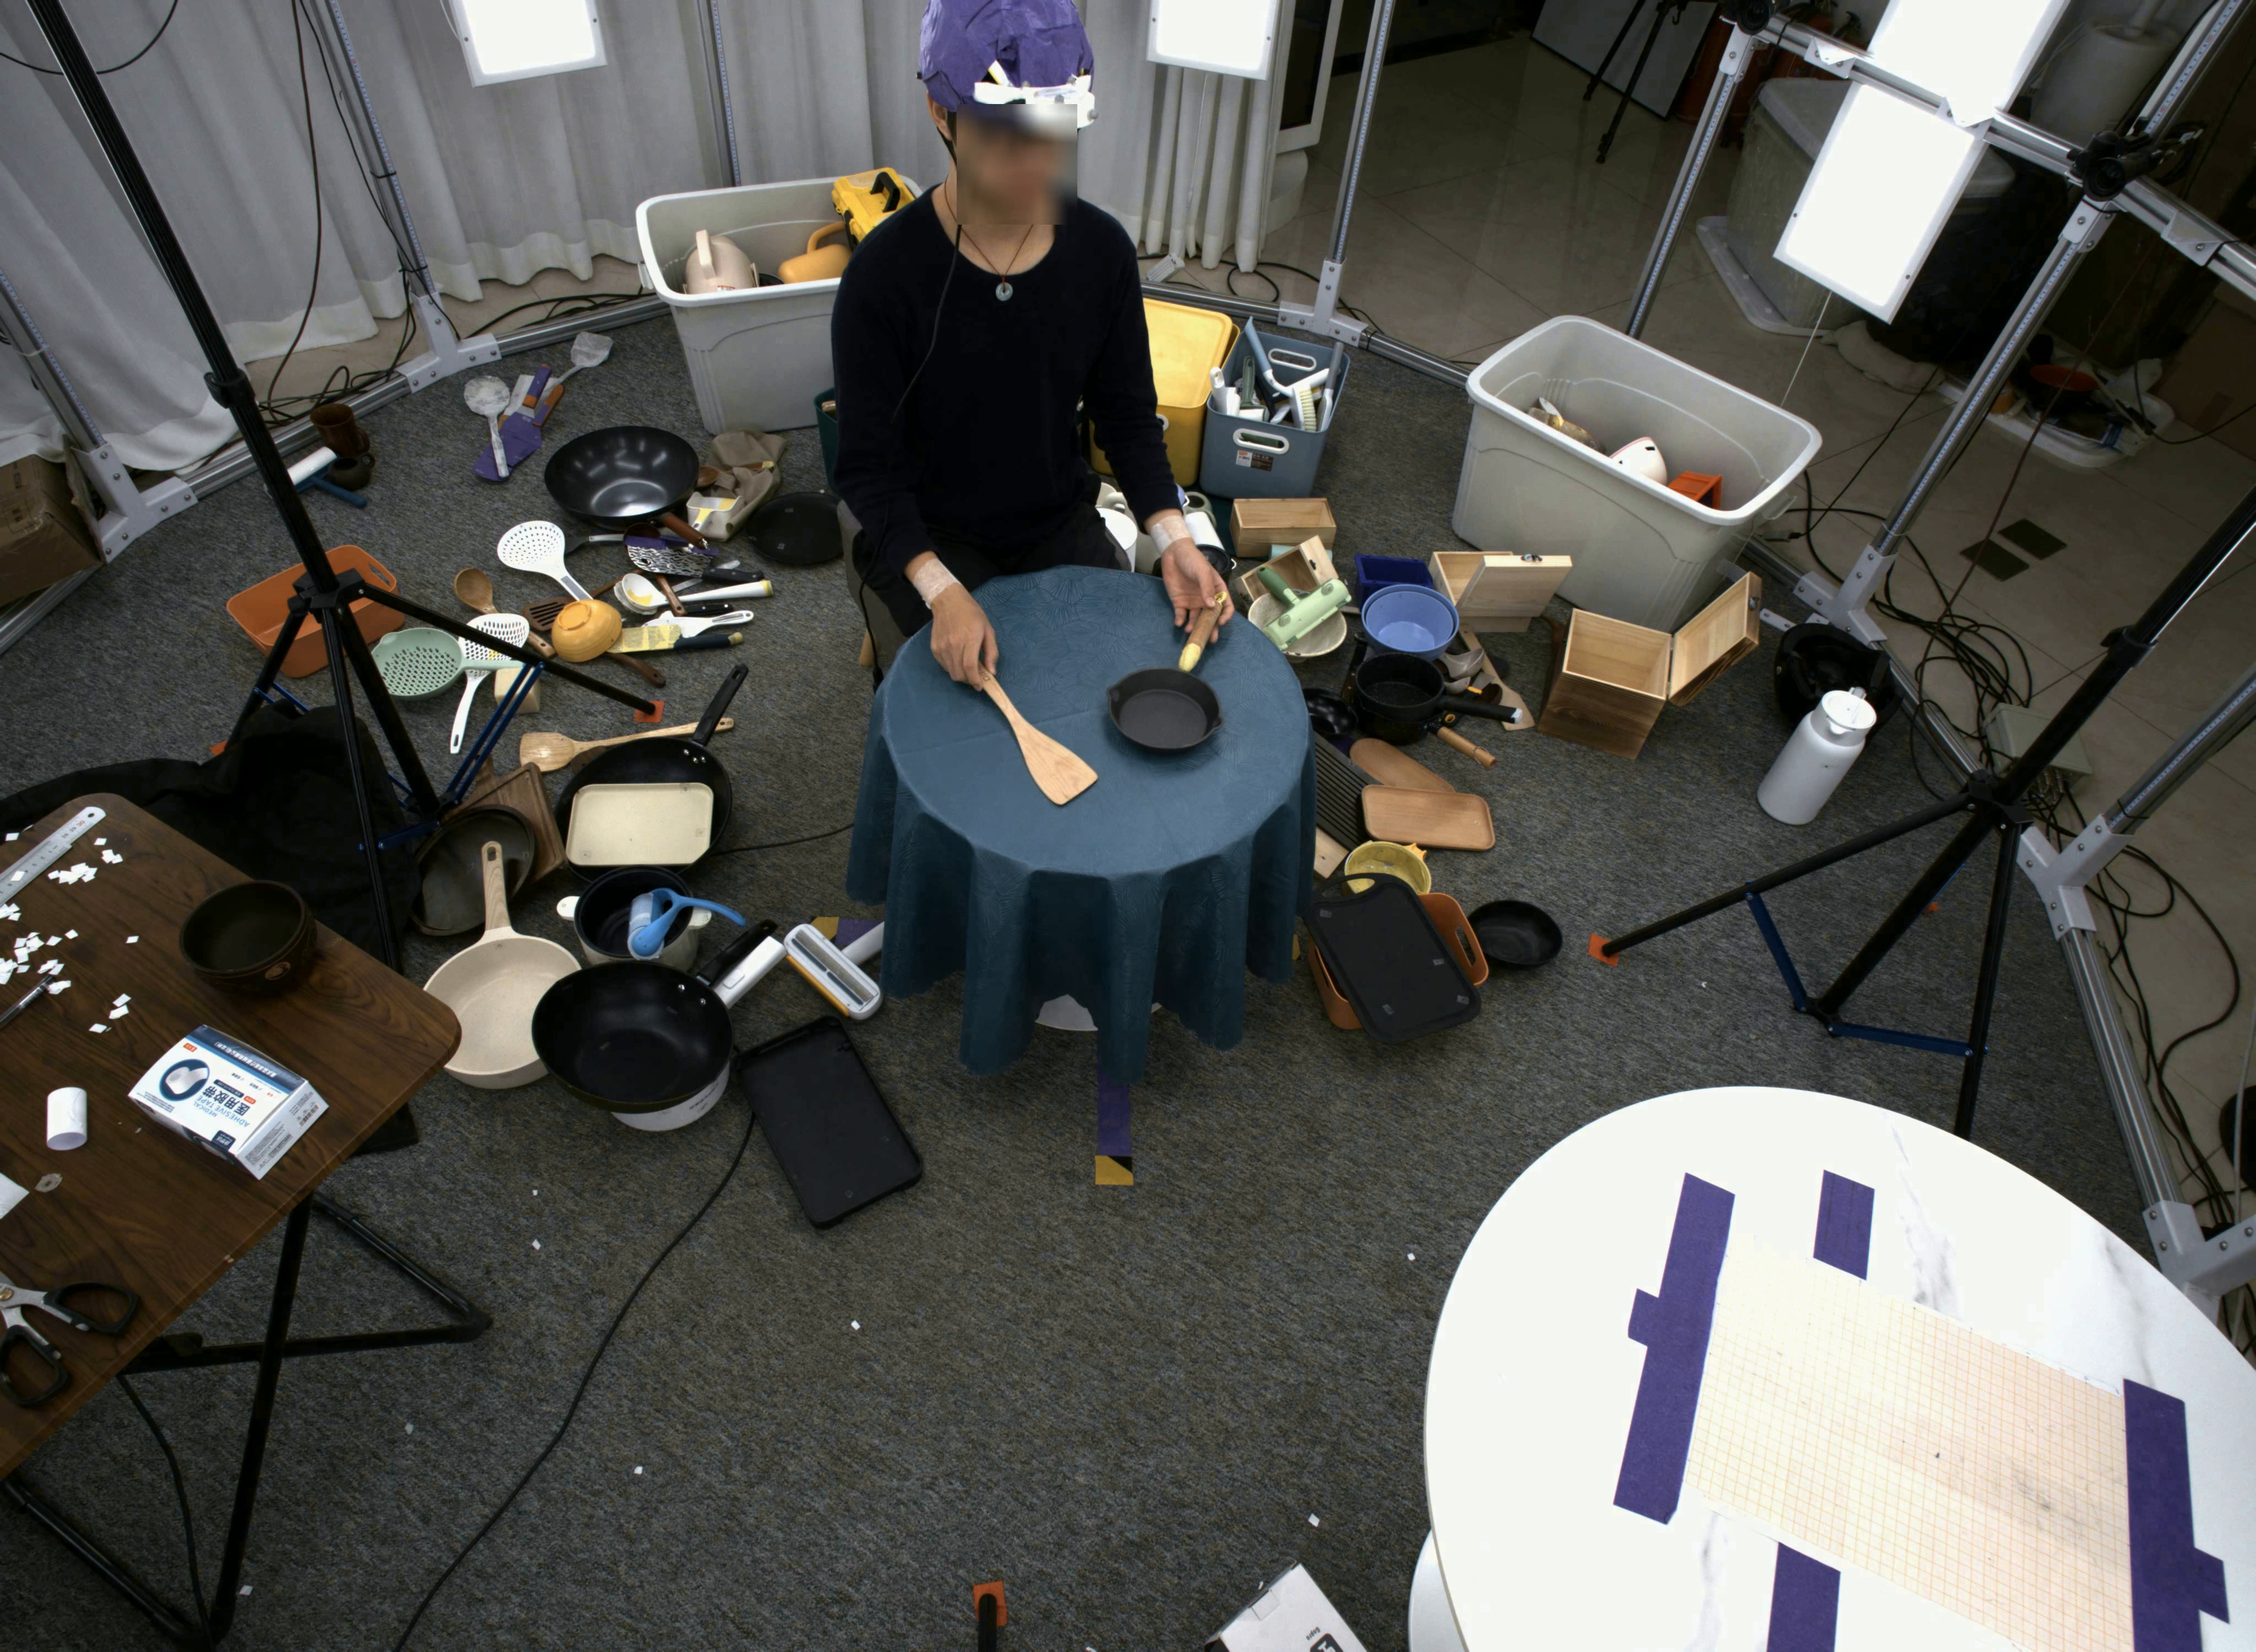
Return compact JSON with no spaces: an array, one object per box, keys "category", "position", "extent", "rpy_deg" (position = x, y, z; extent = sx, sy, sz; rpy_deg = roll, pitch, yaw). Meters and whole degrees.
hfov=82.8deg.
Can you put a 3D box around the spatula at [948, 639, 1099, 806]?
[{"category":"spatula","position":[-0.155,-0.153,1.771],"extent":[0.080,0.016,0.333],"rpy_deg":[-26,61,-26]}]

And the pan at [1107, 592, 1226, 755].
[{"category":"pan","position":[0.082,-0.221,1.833],"extent":[0.170,0.048,0.330],"rpy_deg":[18,52,12]}]
